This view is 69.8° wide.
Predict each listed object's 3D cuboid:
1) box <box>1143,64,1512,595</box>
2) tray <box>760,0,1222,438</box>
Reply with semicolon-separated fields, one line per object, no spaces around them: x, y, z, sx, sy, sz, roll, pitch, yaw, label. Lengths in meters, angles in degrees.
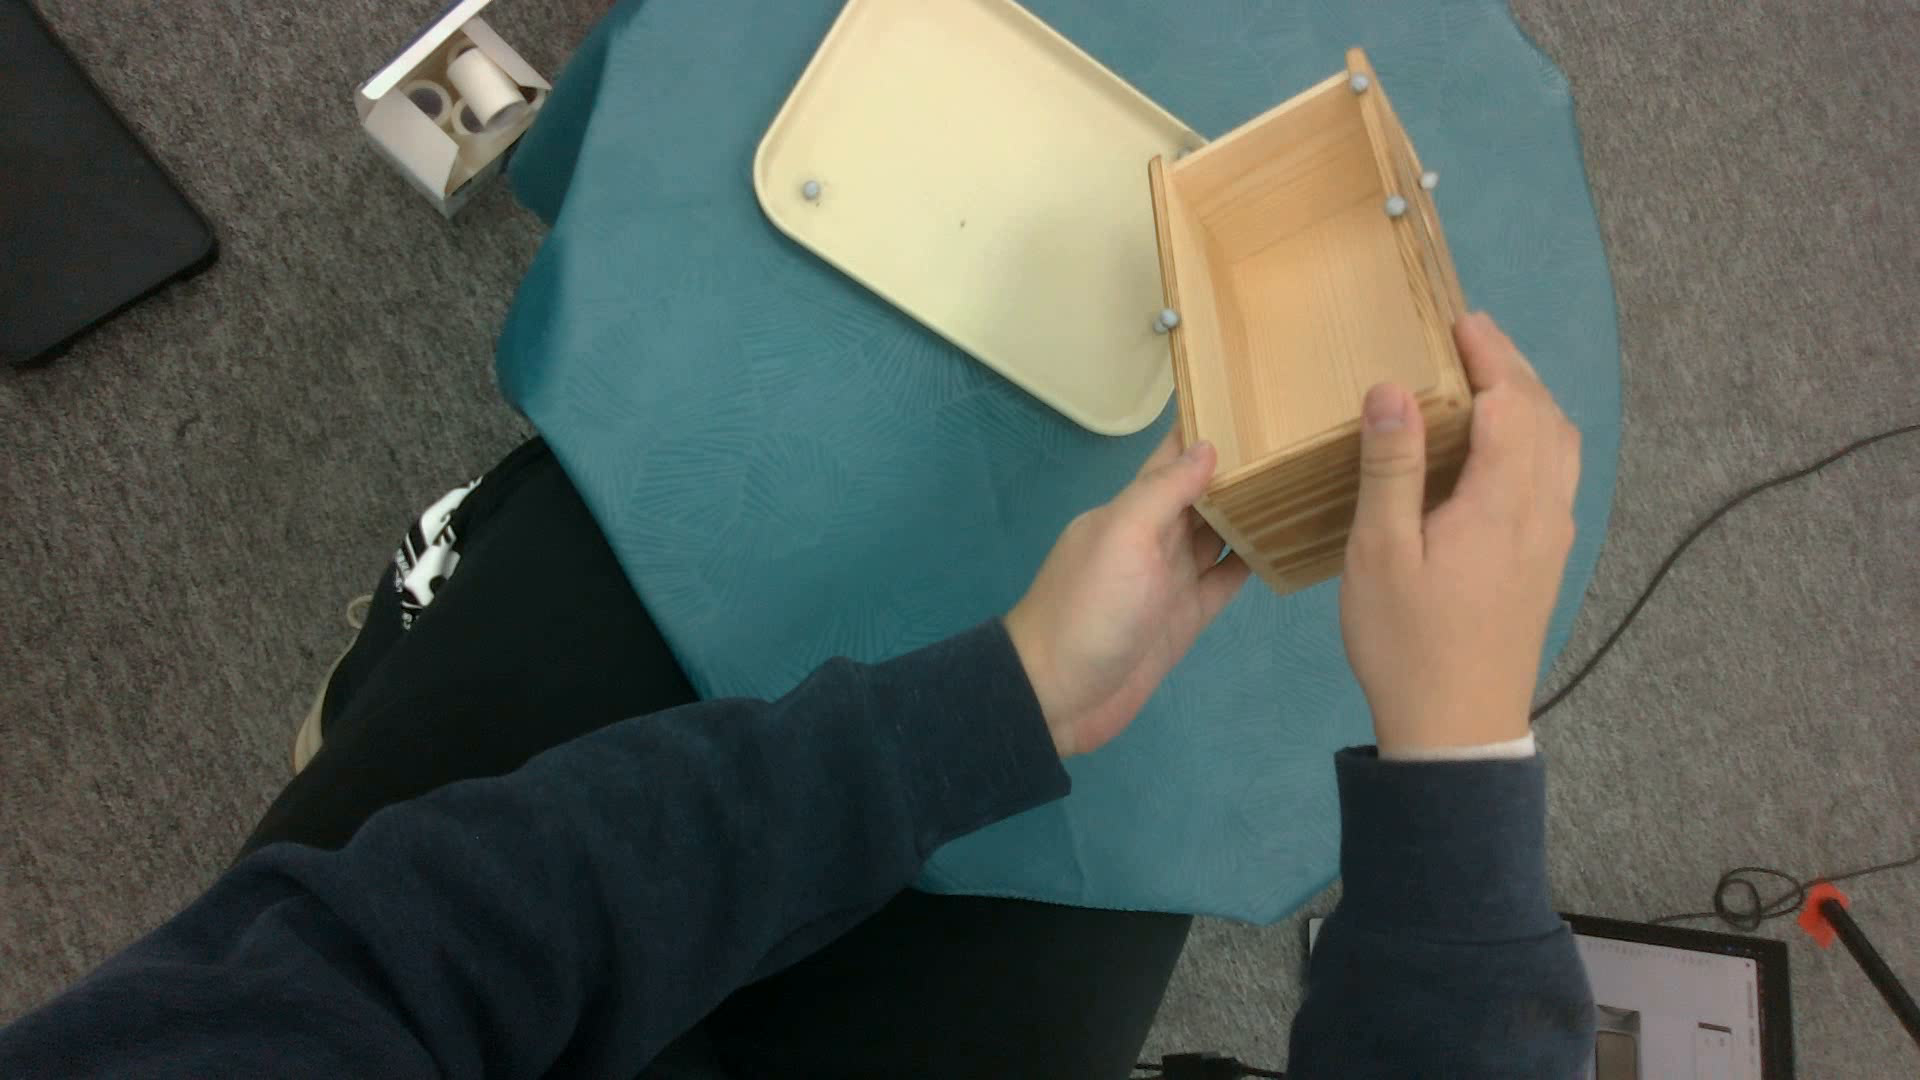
0.153;-0.095;0.606;0.080;0.107;0.212;40;37;-38;box
0.029;-0.174;0.716;0.239;0.017;0.171;32;78;-12;tray
